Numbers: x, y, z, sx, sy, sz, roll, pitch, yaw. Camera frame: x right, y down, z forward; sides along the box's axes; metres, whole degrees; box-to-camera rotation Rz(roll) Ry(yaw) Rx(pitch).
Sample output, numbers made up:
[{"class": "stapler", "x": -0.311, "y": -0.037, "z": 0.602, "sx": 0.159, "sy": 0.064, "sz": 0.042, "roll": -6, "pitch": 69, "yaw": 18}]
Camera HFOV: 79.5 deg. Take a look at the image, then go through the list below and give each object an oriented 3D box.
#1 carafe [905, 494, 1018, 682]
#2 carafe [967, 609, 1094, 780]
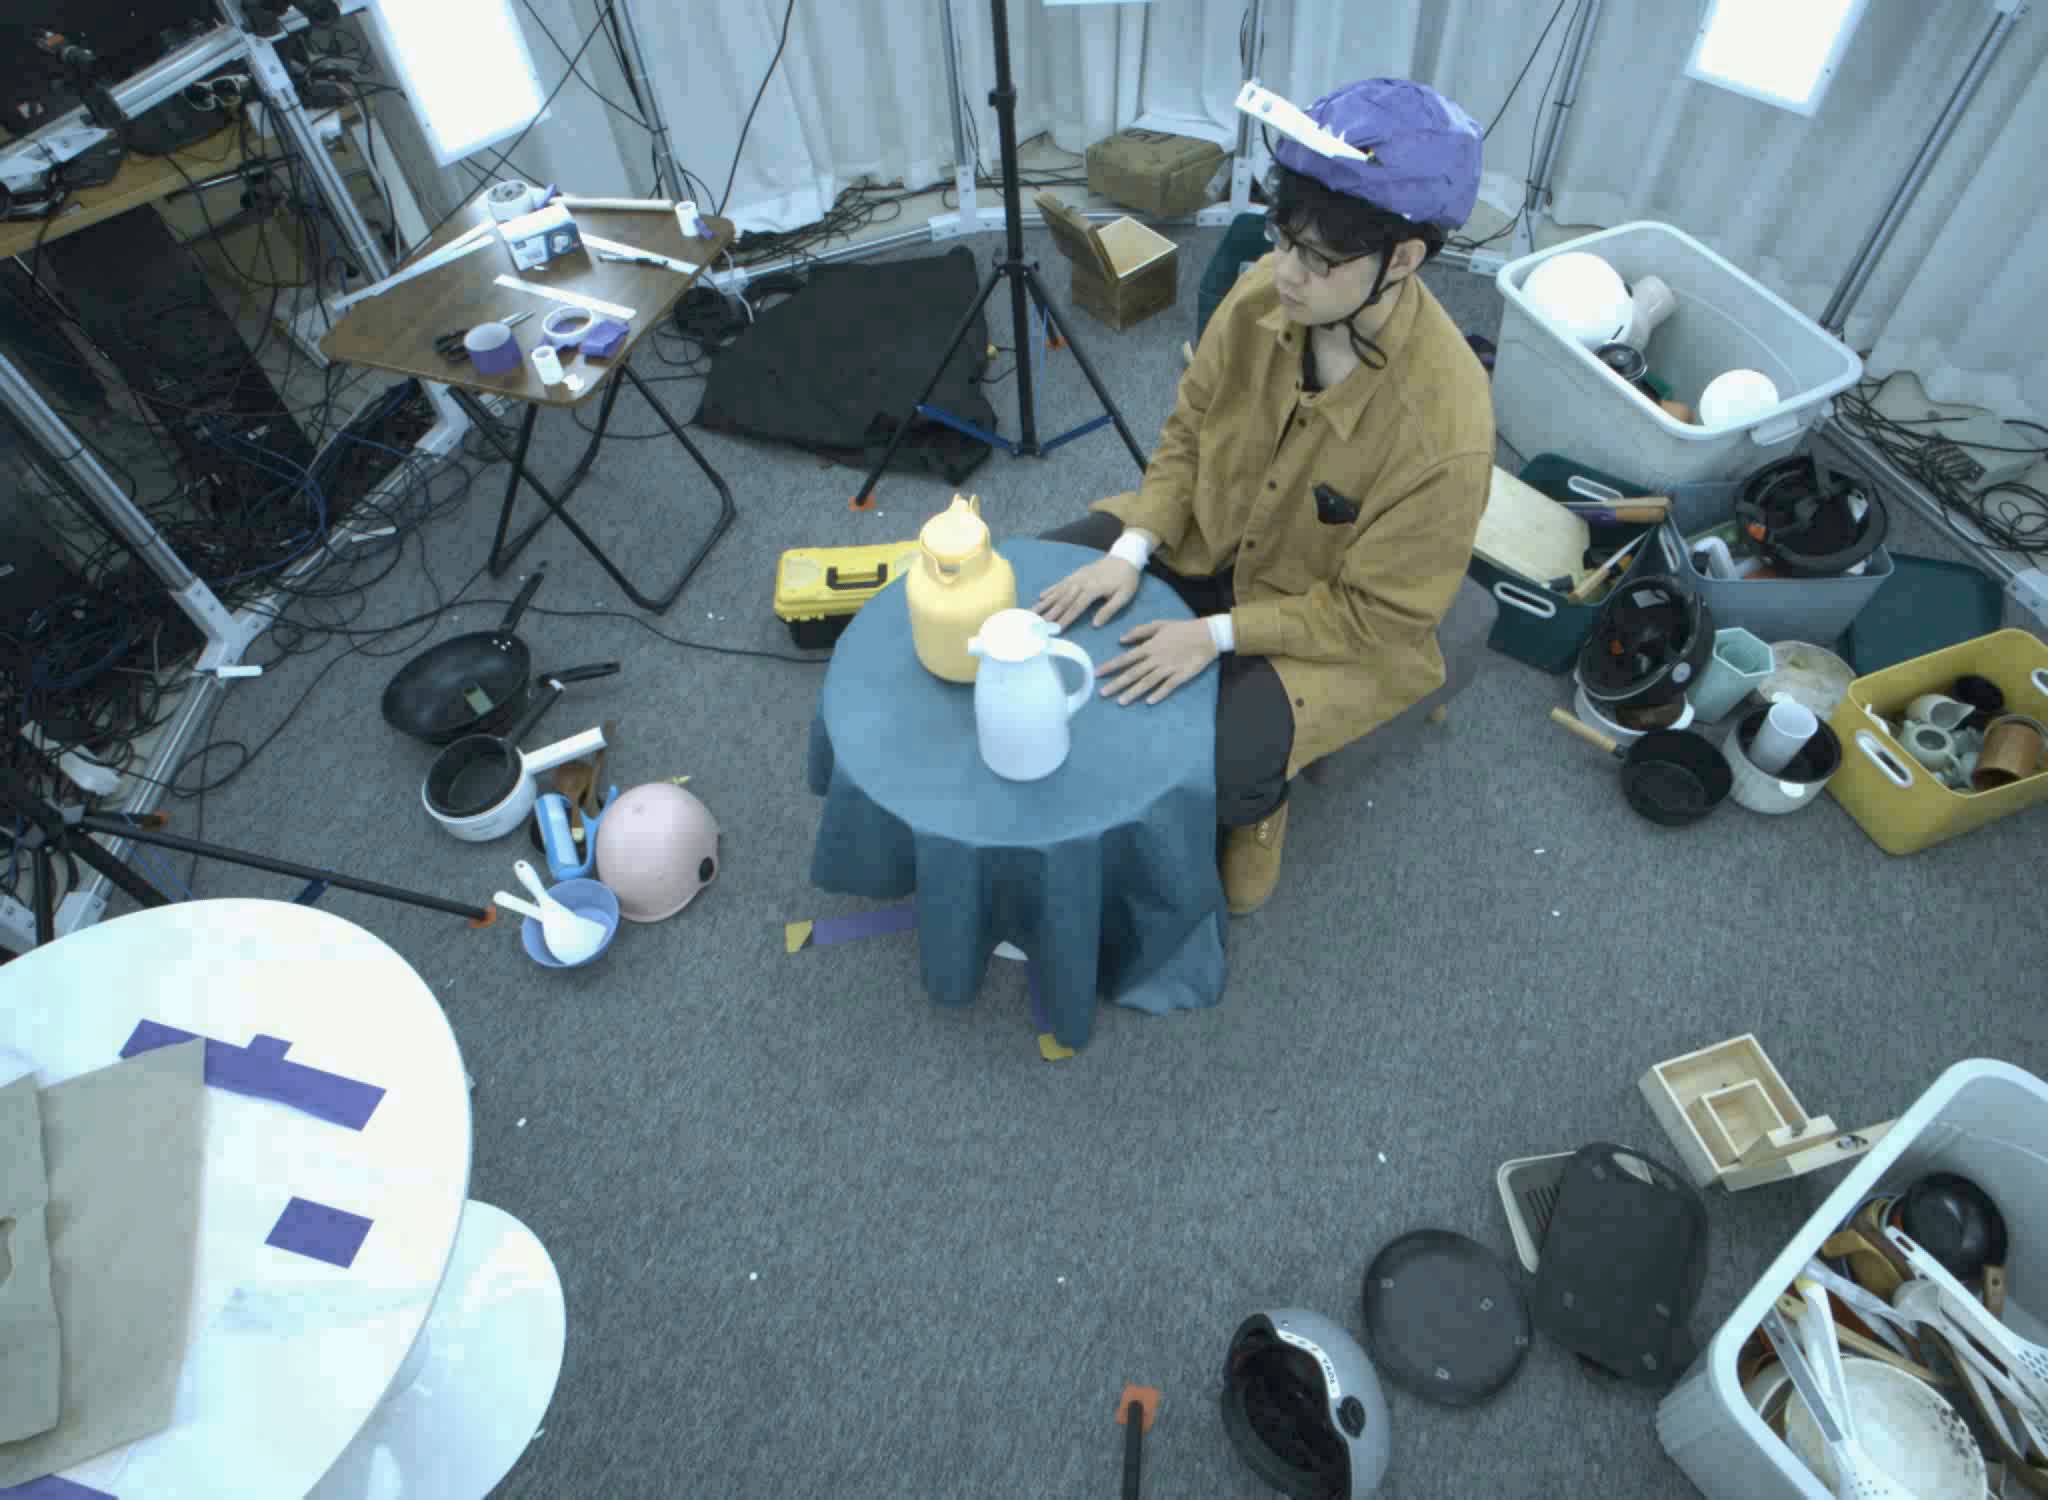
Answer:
[{"class": "carafe", "x": -0.088, "y": -0.245, "z": 1.800, "sx": 0.163, "sy": 0.263, "sz": 0.201, "roll": 7, "pitch": 56, "yaw": 6}, {"class": "carafe", "x": 0.012, "y": -0.083, "z": 1.689, "sx": 0.168, "sy": 0.251, "sz": 0.131, "roll": -3, "pitch": 54, "yaw": 0}]
